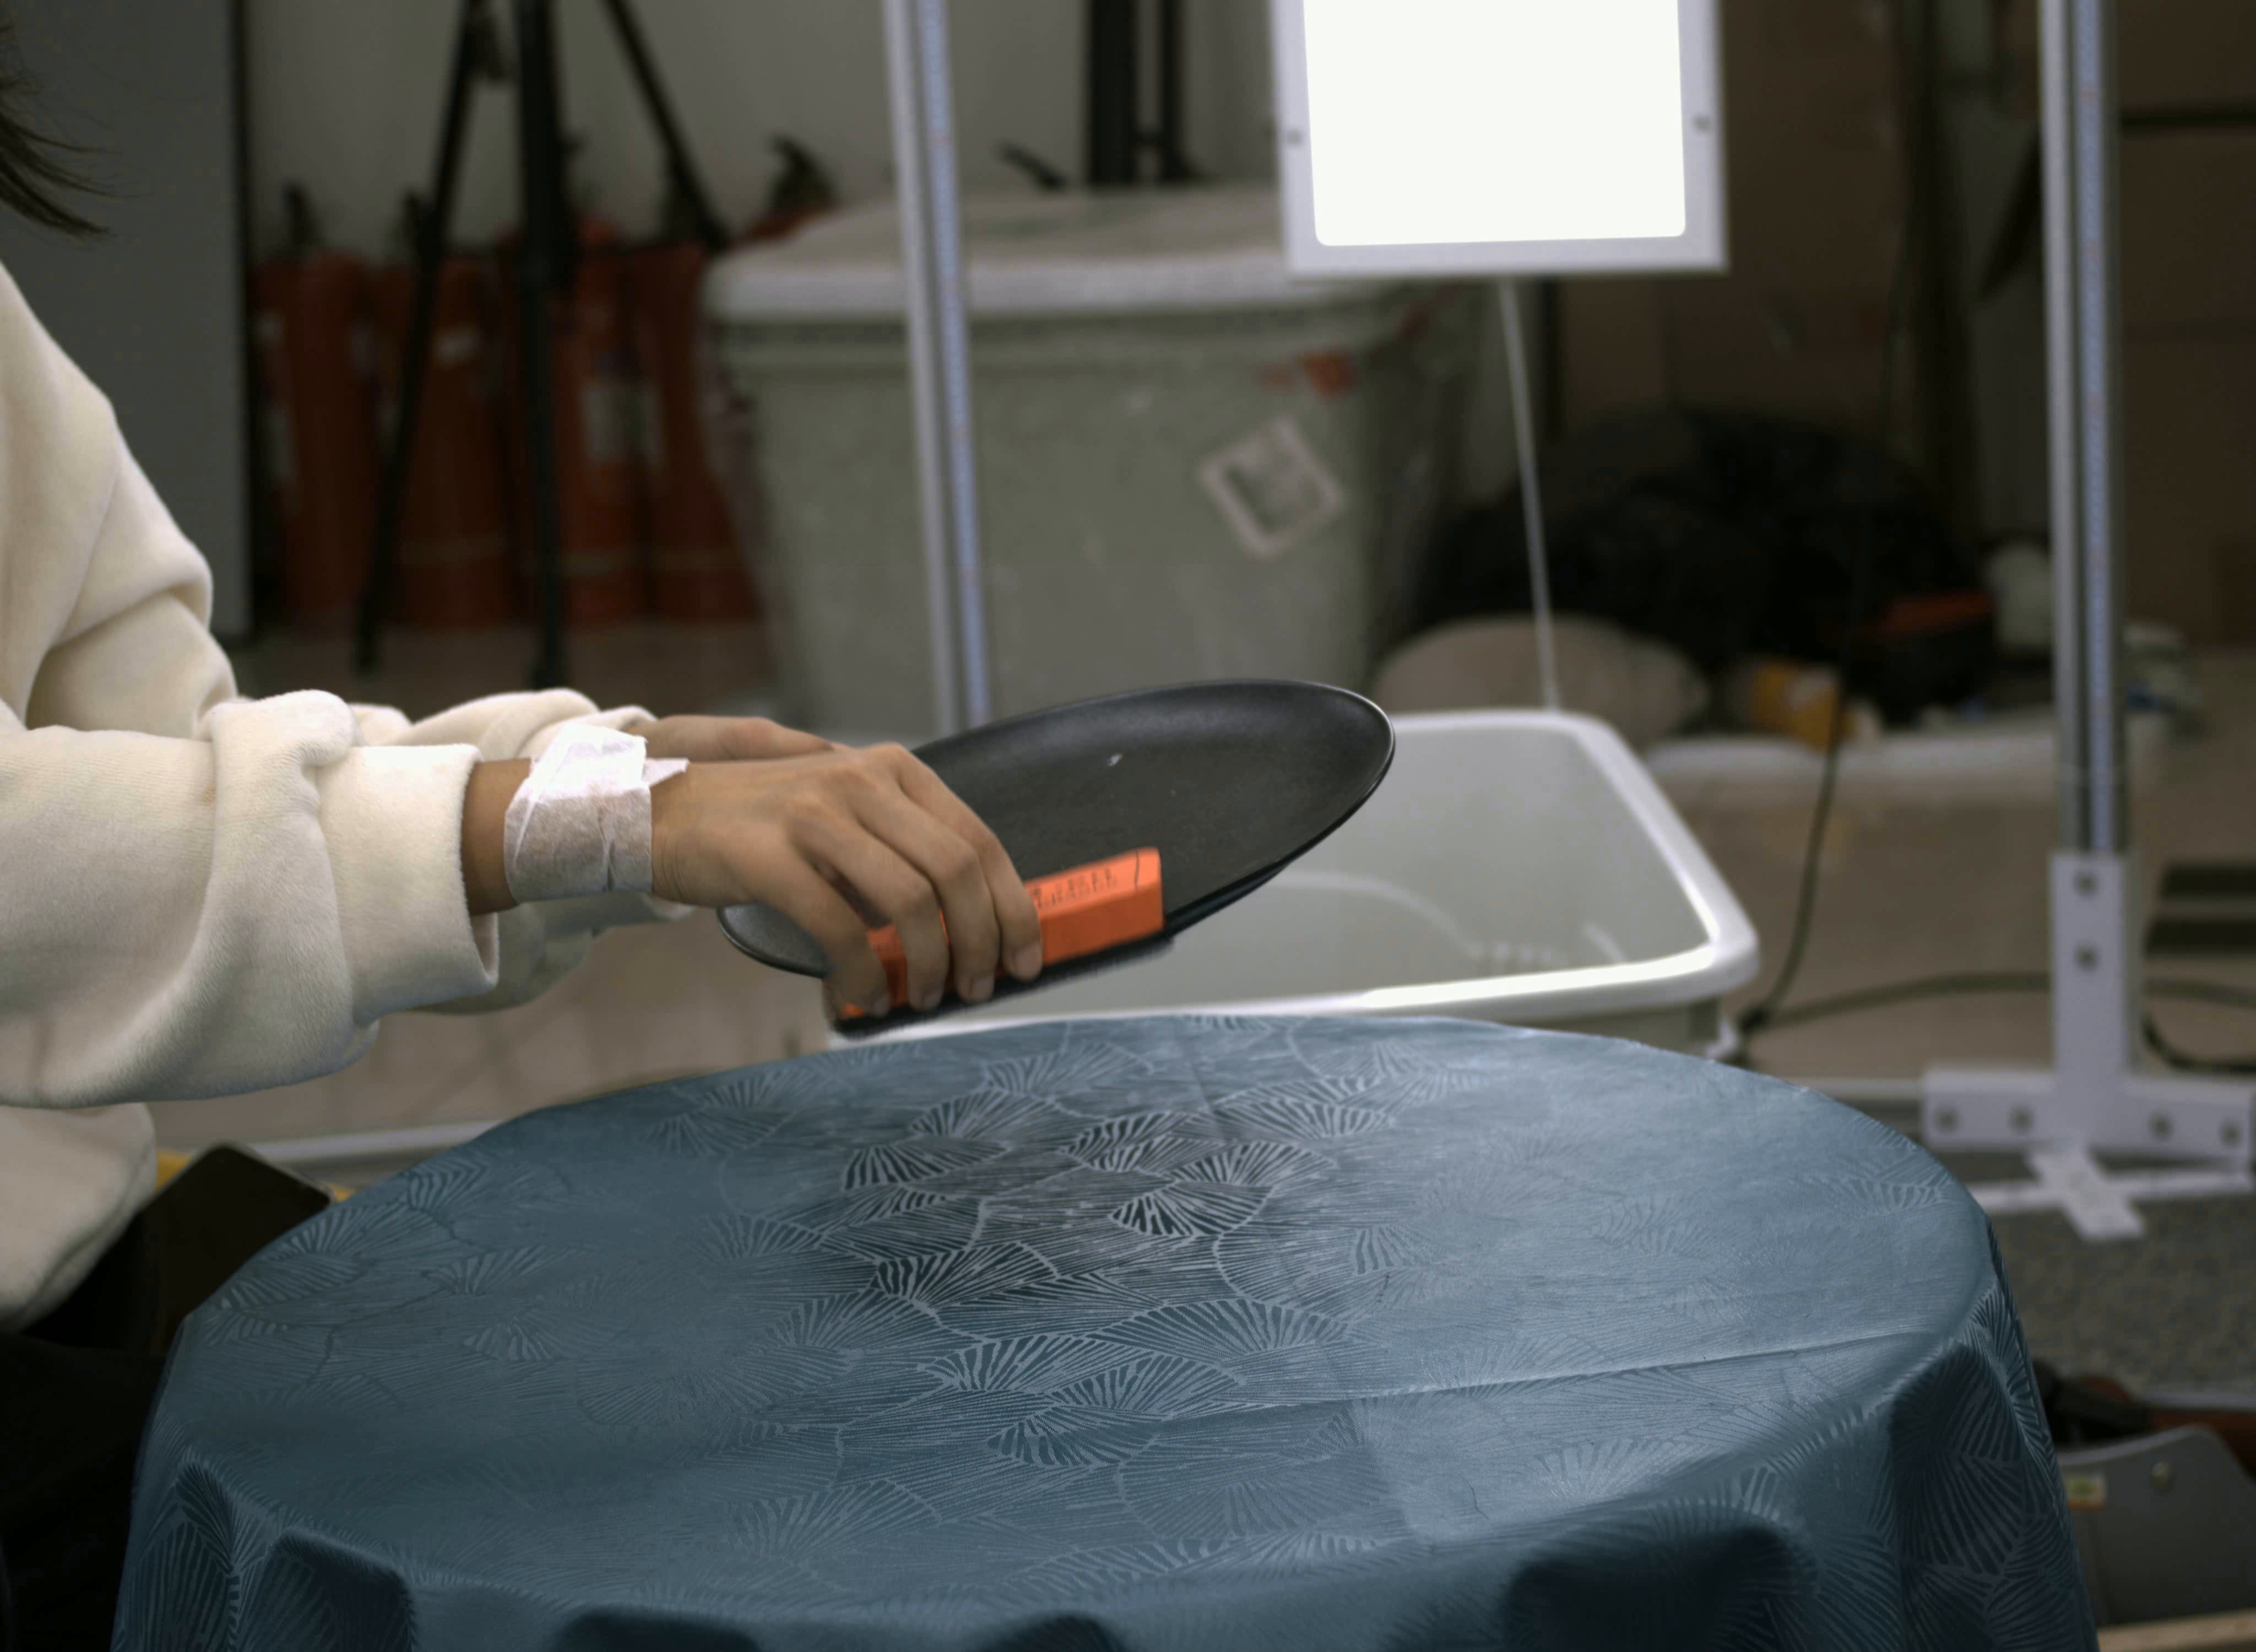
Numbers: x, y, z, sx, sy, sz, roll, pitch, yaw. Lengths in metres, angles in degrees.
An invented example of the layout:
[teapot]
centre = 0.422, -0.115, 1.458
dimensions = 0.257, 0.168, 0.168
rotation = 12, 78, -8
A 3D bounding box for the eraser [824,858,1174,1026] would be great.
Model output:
[eraser]
centre = -0.040, 0.036, 1.727
dimensions = 0.108, 0.023, 0.058
rotation = -12, 12, 6

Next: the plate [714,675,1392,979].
[plate]
centre = -0.024, 0.006, 1.904
dimensions = 0.245, 0.023, 0.244
rotation = -15, 19, 4
